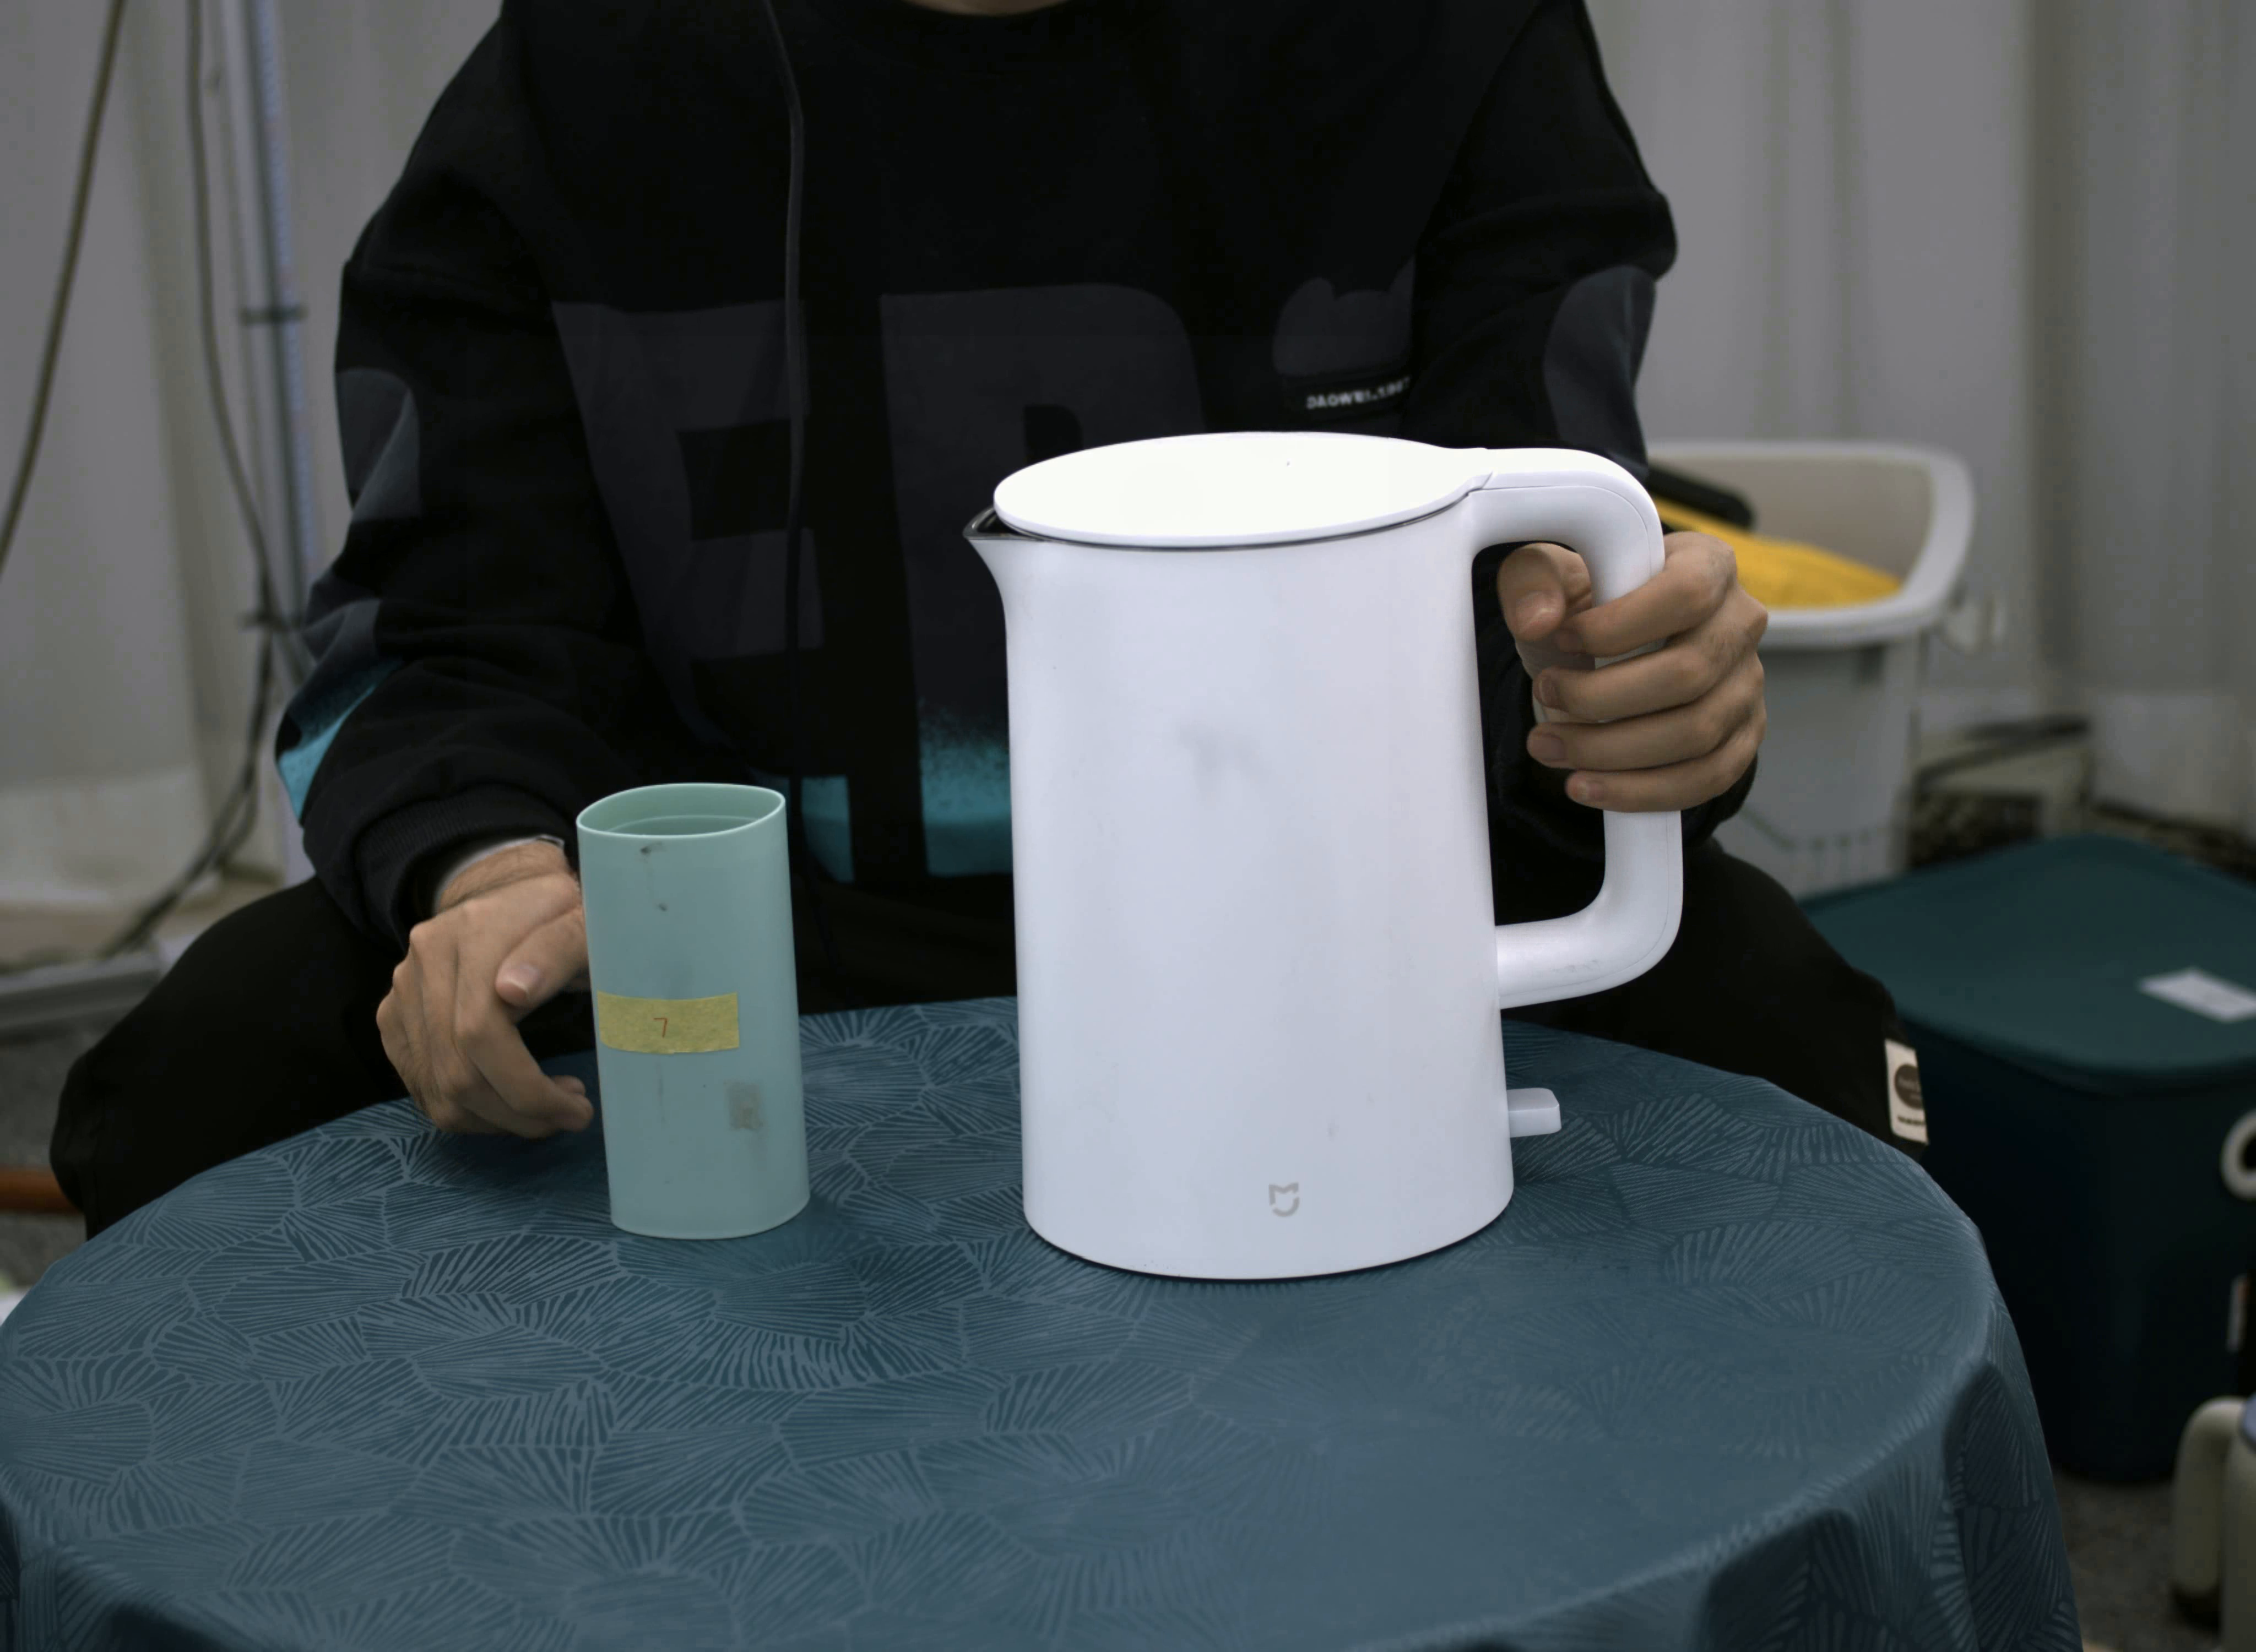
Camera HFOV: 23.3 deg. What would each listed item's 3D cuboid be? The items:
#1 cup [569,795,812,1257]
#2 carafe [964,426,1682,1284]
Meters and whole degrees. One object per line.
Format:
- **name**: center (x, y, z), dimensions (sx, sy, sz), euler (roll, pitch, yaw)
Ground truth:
- **cup**: center (-0.135, 0.061, 1.703), dimensions (0.066, 0.132, 0.067), euler (-4, 14, 1)
- **carafe**: center (0.063, 0.004, 1.670), dimensions (0.212, 0.239, 0.153), euler (-5, 15, -4)
